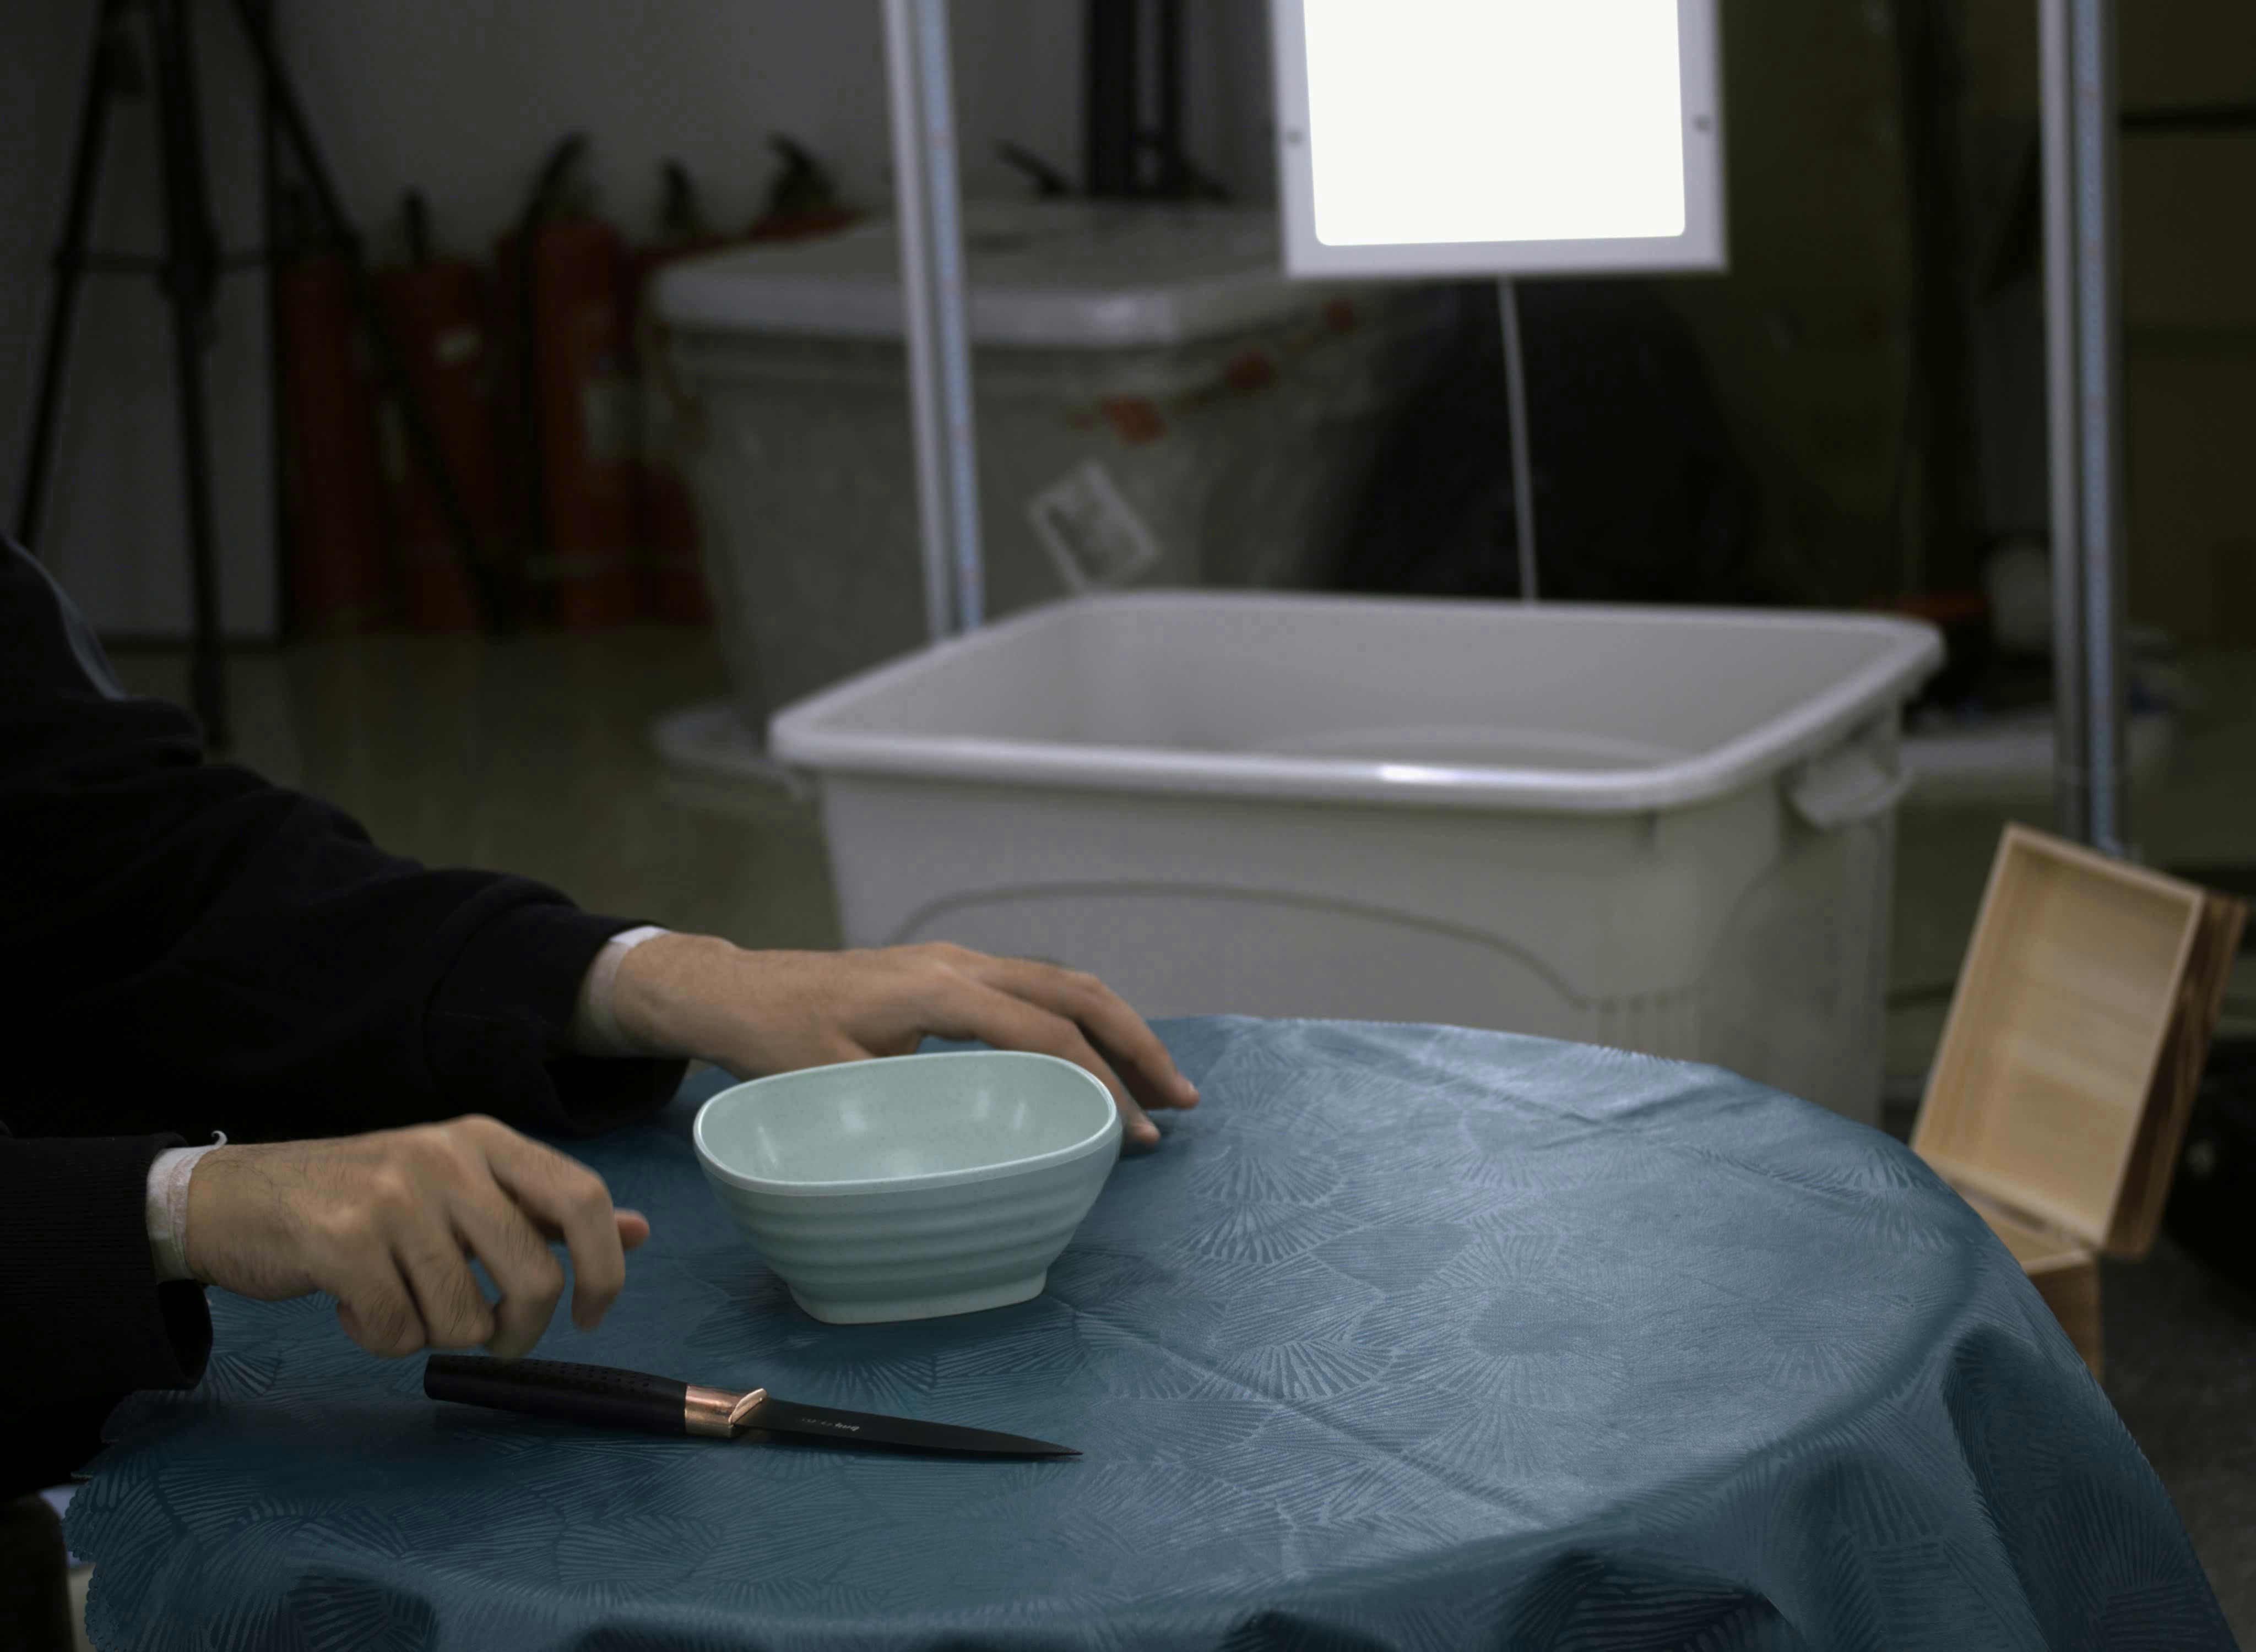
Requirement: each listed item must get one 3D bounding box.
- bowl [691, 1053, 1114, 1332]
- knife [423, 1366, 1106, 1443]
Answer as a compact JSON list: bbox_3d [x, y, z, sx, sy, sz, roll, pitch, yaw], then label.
[{"bbox_3d":[-0.072,0.124,1.819,0.151,0.059,0.151,-5,15,0],"label":"bowl"},{"bbox_3d":[-0.114,0.180,1.695,0.229,0.017,0.026,2,18,23],"label":"knife"}]
